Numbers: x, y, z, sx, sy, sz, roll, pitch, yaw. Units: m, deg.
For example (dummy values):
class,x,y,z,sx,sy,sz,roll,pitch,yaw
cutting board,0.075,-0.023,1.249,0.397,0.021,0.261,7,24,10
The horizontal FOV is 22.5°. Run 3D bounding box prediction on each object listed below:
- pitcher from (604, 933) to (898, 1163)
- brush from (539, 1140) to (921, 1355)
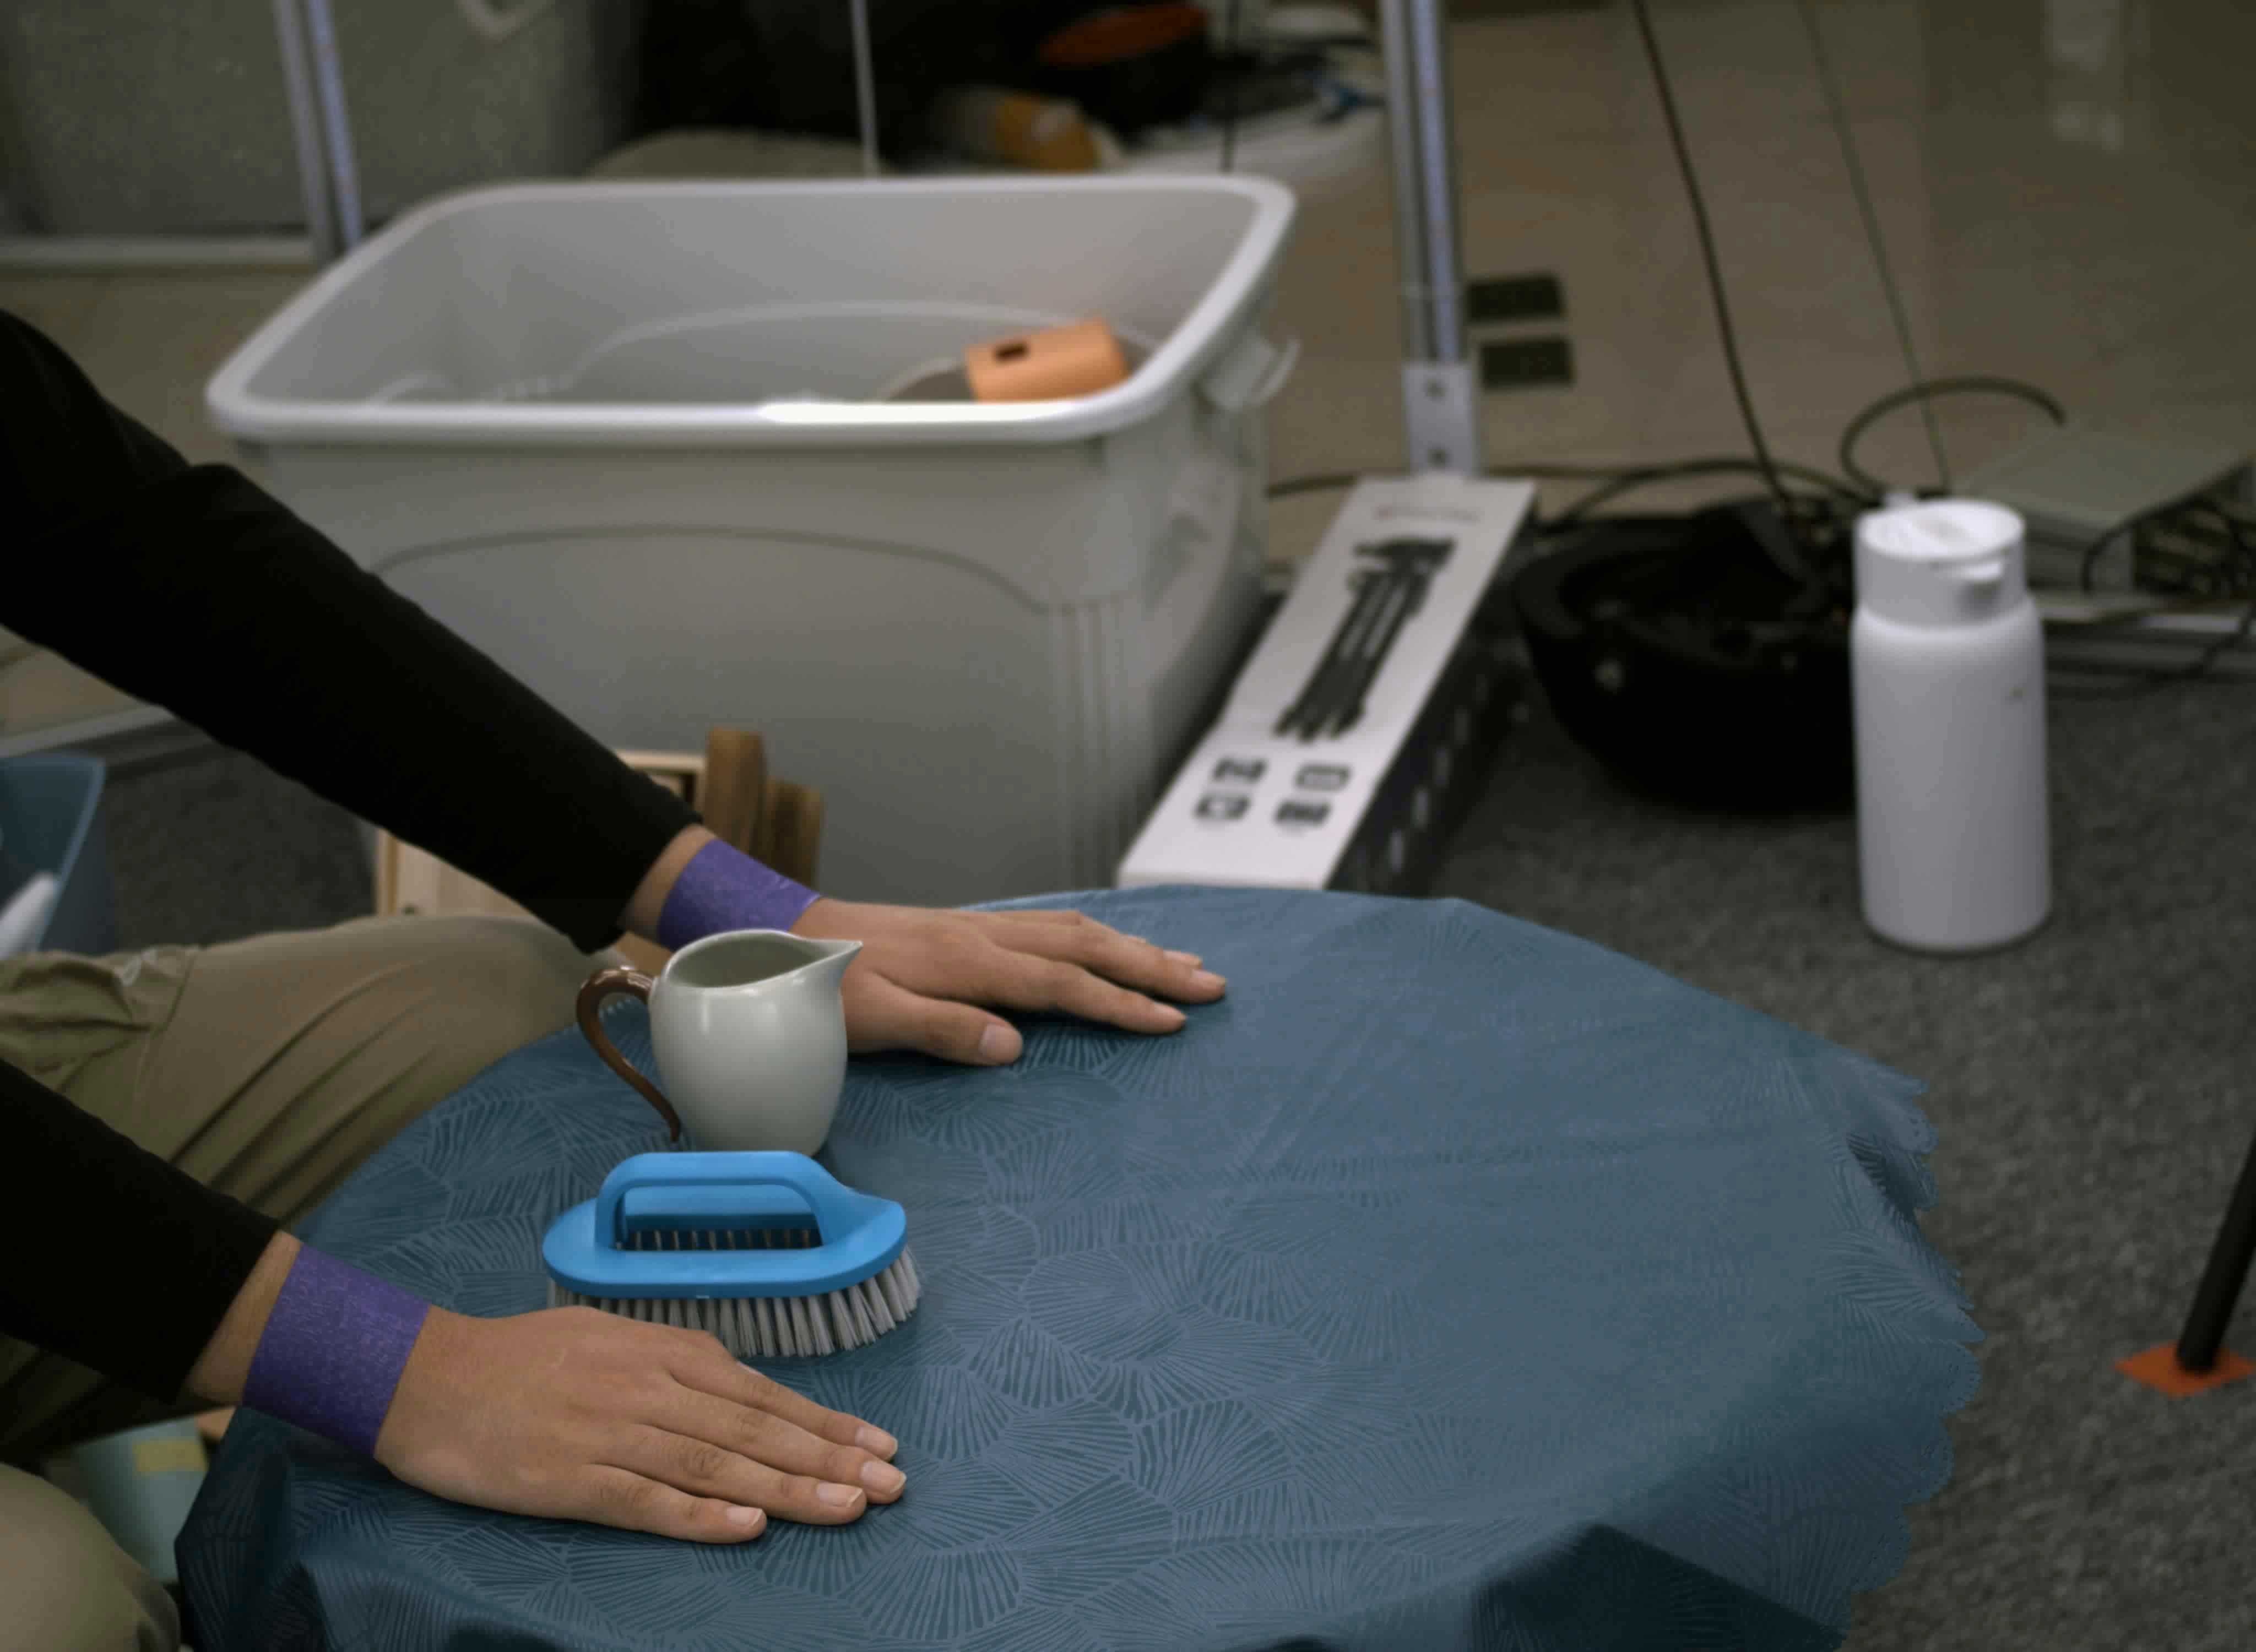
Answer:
class,x,y,z,sx,sy,sz,roll,pitch,yaw
pitcher,-0.145,0.086,2.190,0.119,0.089,0.075,4,22,13
brush,-0.150,0.147,2.087,0.141,0.065,0.083,-2,30,13
